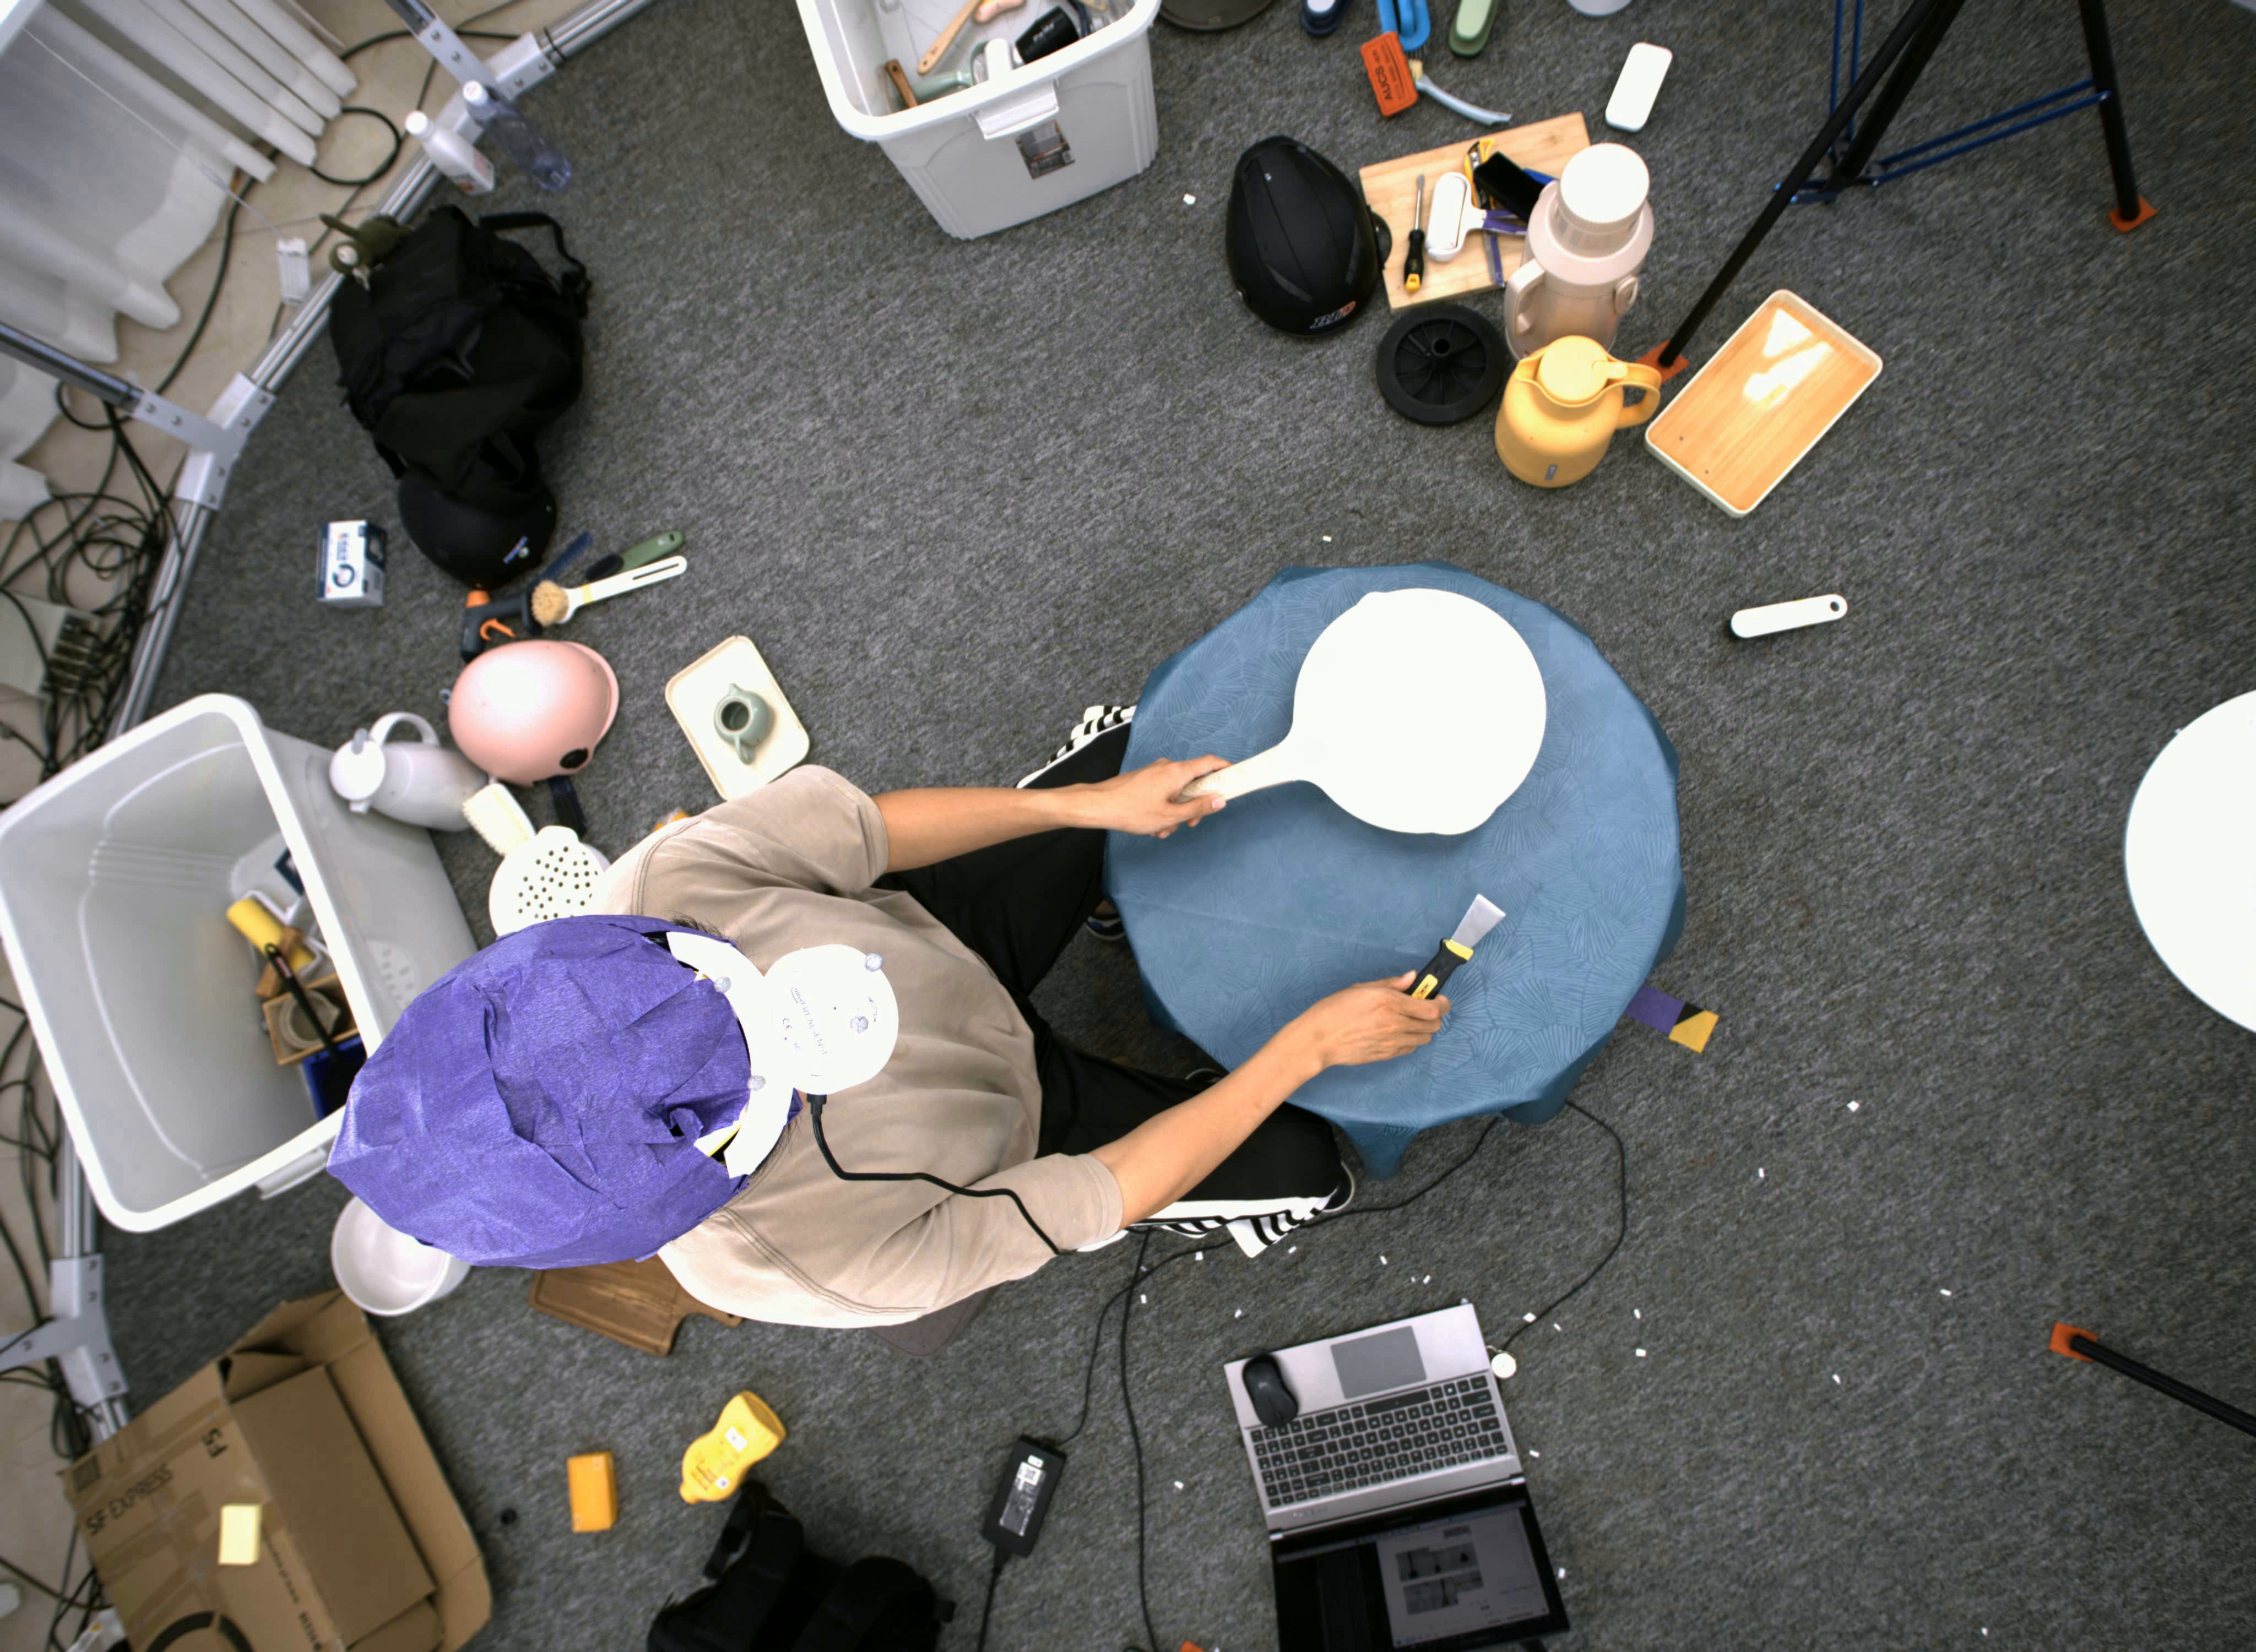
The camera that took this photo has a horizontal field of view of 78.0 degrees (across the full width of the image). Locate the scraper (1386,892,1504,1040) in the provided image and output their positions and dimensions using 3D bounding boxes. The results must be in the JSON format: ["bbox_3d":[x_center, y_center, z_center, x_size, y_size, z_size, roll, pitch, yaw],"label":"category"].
[{"bbox_3d":[0.318,0.143,1.395,0.039,0.015,0.171,35,95,3],"label":"scraper"}]

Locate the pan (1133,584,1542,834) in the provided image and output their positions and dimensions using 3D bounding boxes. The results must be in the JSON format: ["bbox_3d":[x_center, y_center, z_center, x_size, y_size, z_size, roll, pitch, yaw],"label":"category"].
[{"bbox_3d":[0.212,-0.086,1.435,0.437,0.102,0.262,-22,85,9],"label":"pan"}]
